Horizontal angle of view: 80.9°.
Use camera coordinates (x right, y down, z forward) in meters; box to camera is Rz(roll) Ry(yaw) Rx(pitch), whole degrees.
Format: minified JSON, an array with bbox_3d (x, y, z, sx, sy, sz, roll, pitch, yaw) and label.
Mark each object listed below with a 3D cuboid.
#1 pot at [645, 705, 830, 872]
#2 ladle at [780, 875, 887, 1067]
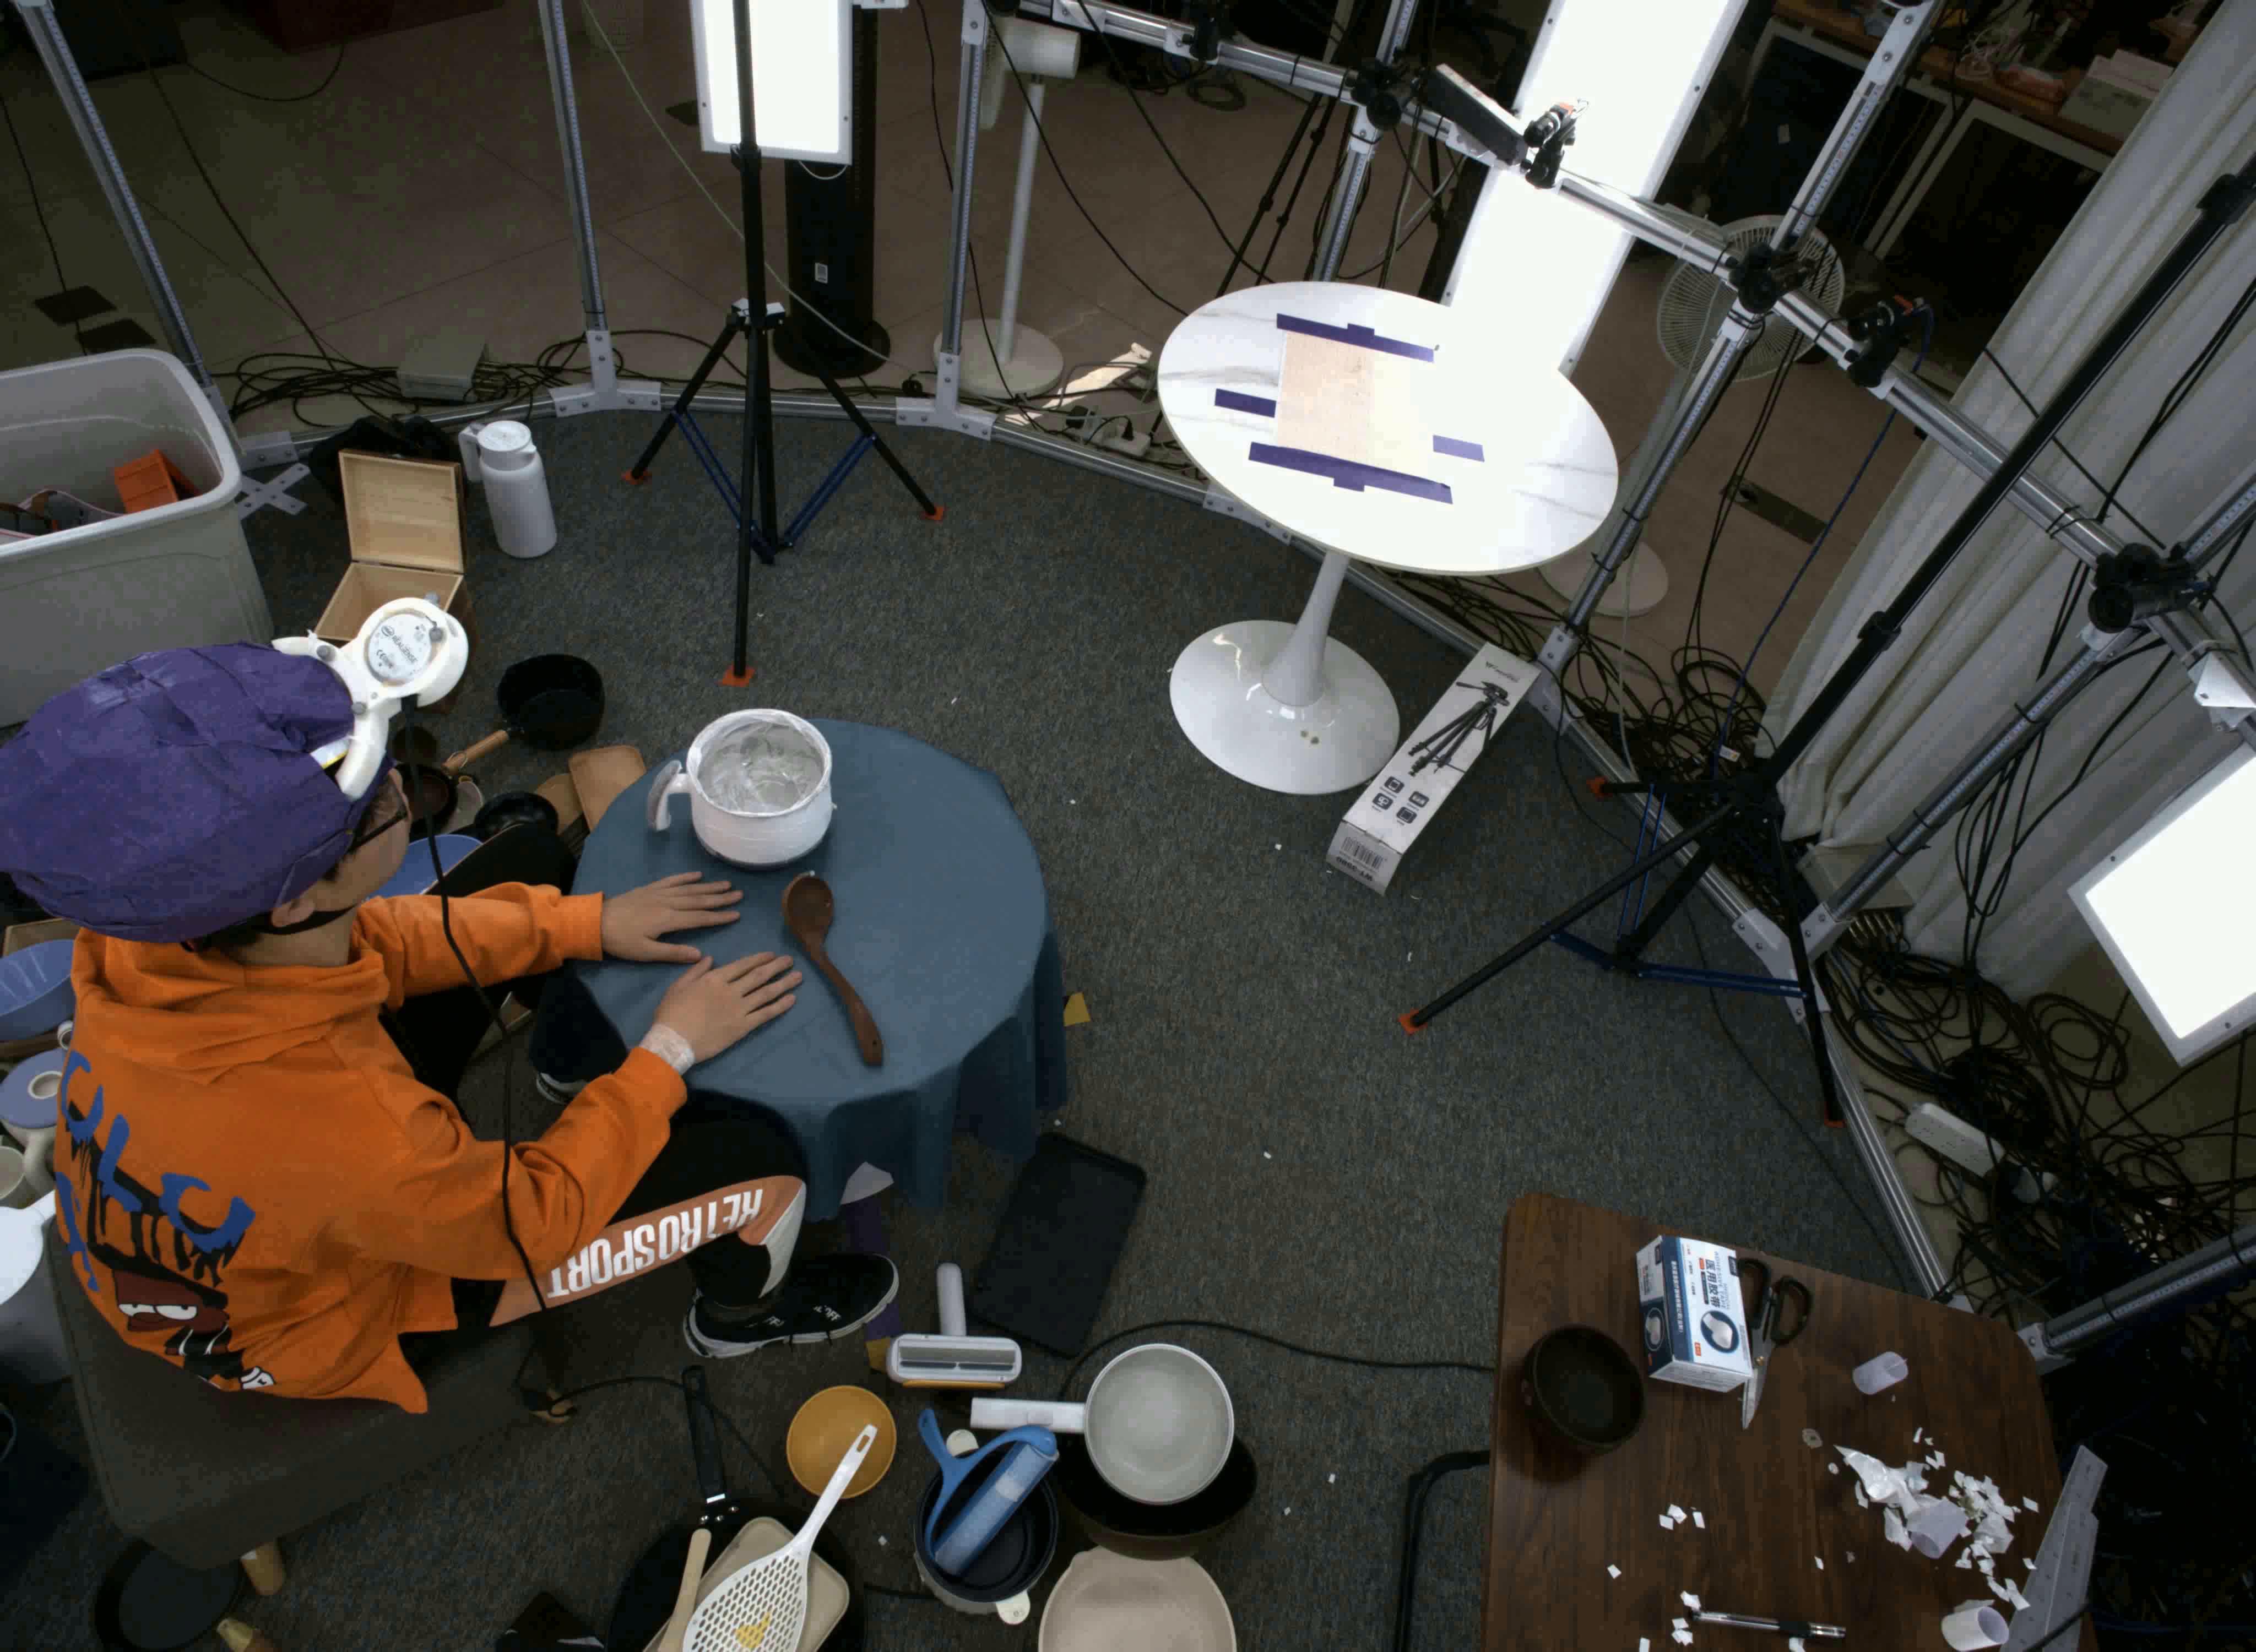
[{"bbox_3d":[-0.495,-0.042,1.637,0.234,0.139,0.174,-5,54,-18],"label":"pot"},{"bbox_3d":[-0.347,0.168,1.569,0.078,0.065,0.253,-4,50,-49],"label":"ladle"}]
